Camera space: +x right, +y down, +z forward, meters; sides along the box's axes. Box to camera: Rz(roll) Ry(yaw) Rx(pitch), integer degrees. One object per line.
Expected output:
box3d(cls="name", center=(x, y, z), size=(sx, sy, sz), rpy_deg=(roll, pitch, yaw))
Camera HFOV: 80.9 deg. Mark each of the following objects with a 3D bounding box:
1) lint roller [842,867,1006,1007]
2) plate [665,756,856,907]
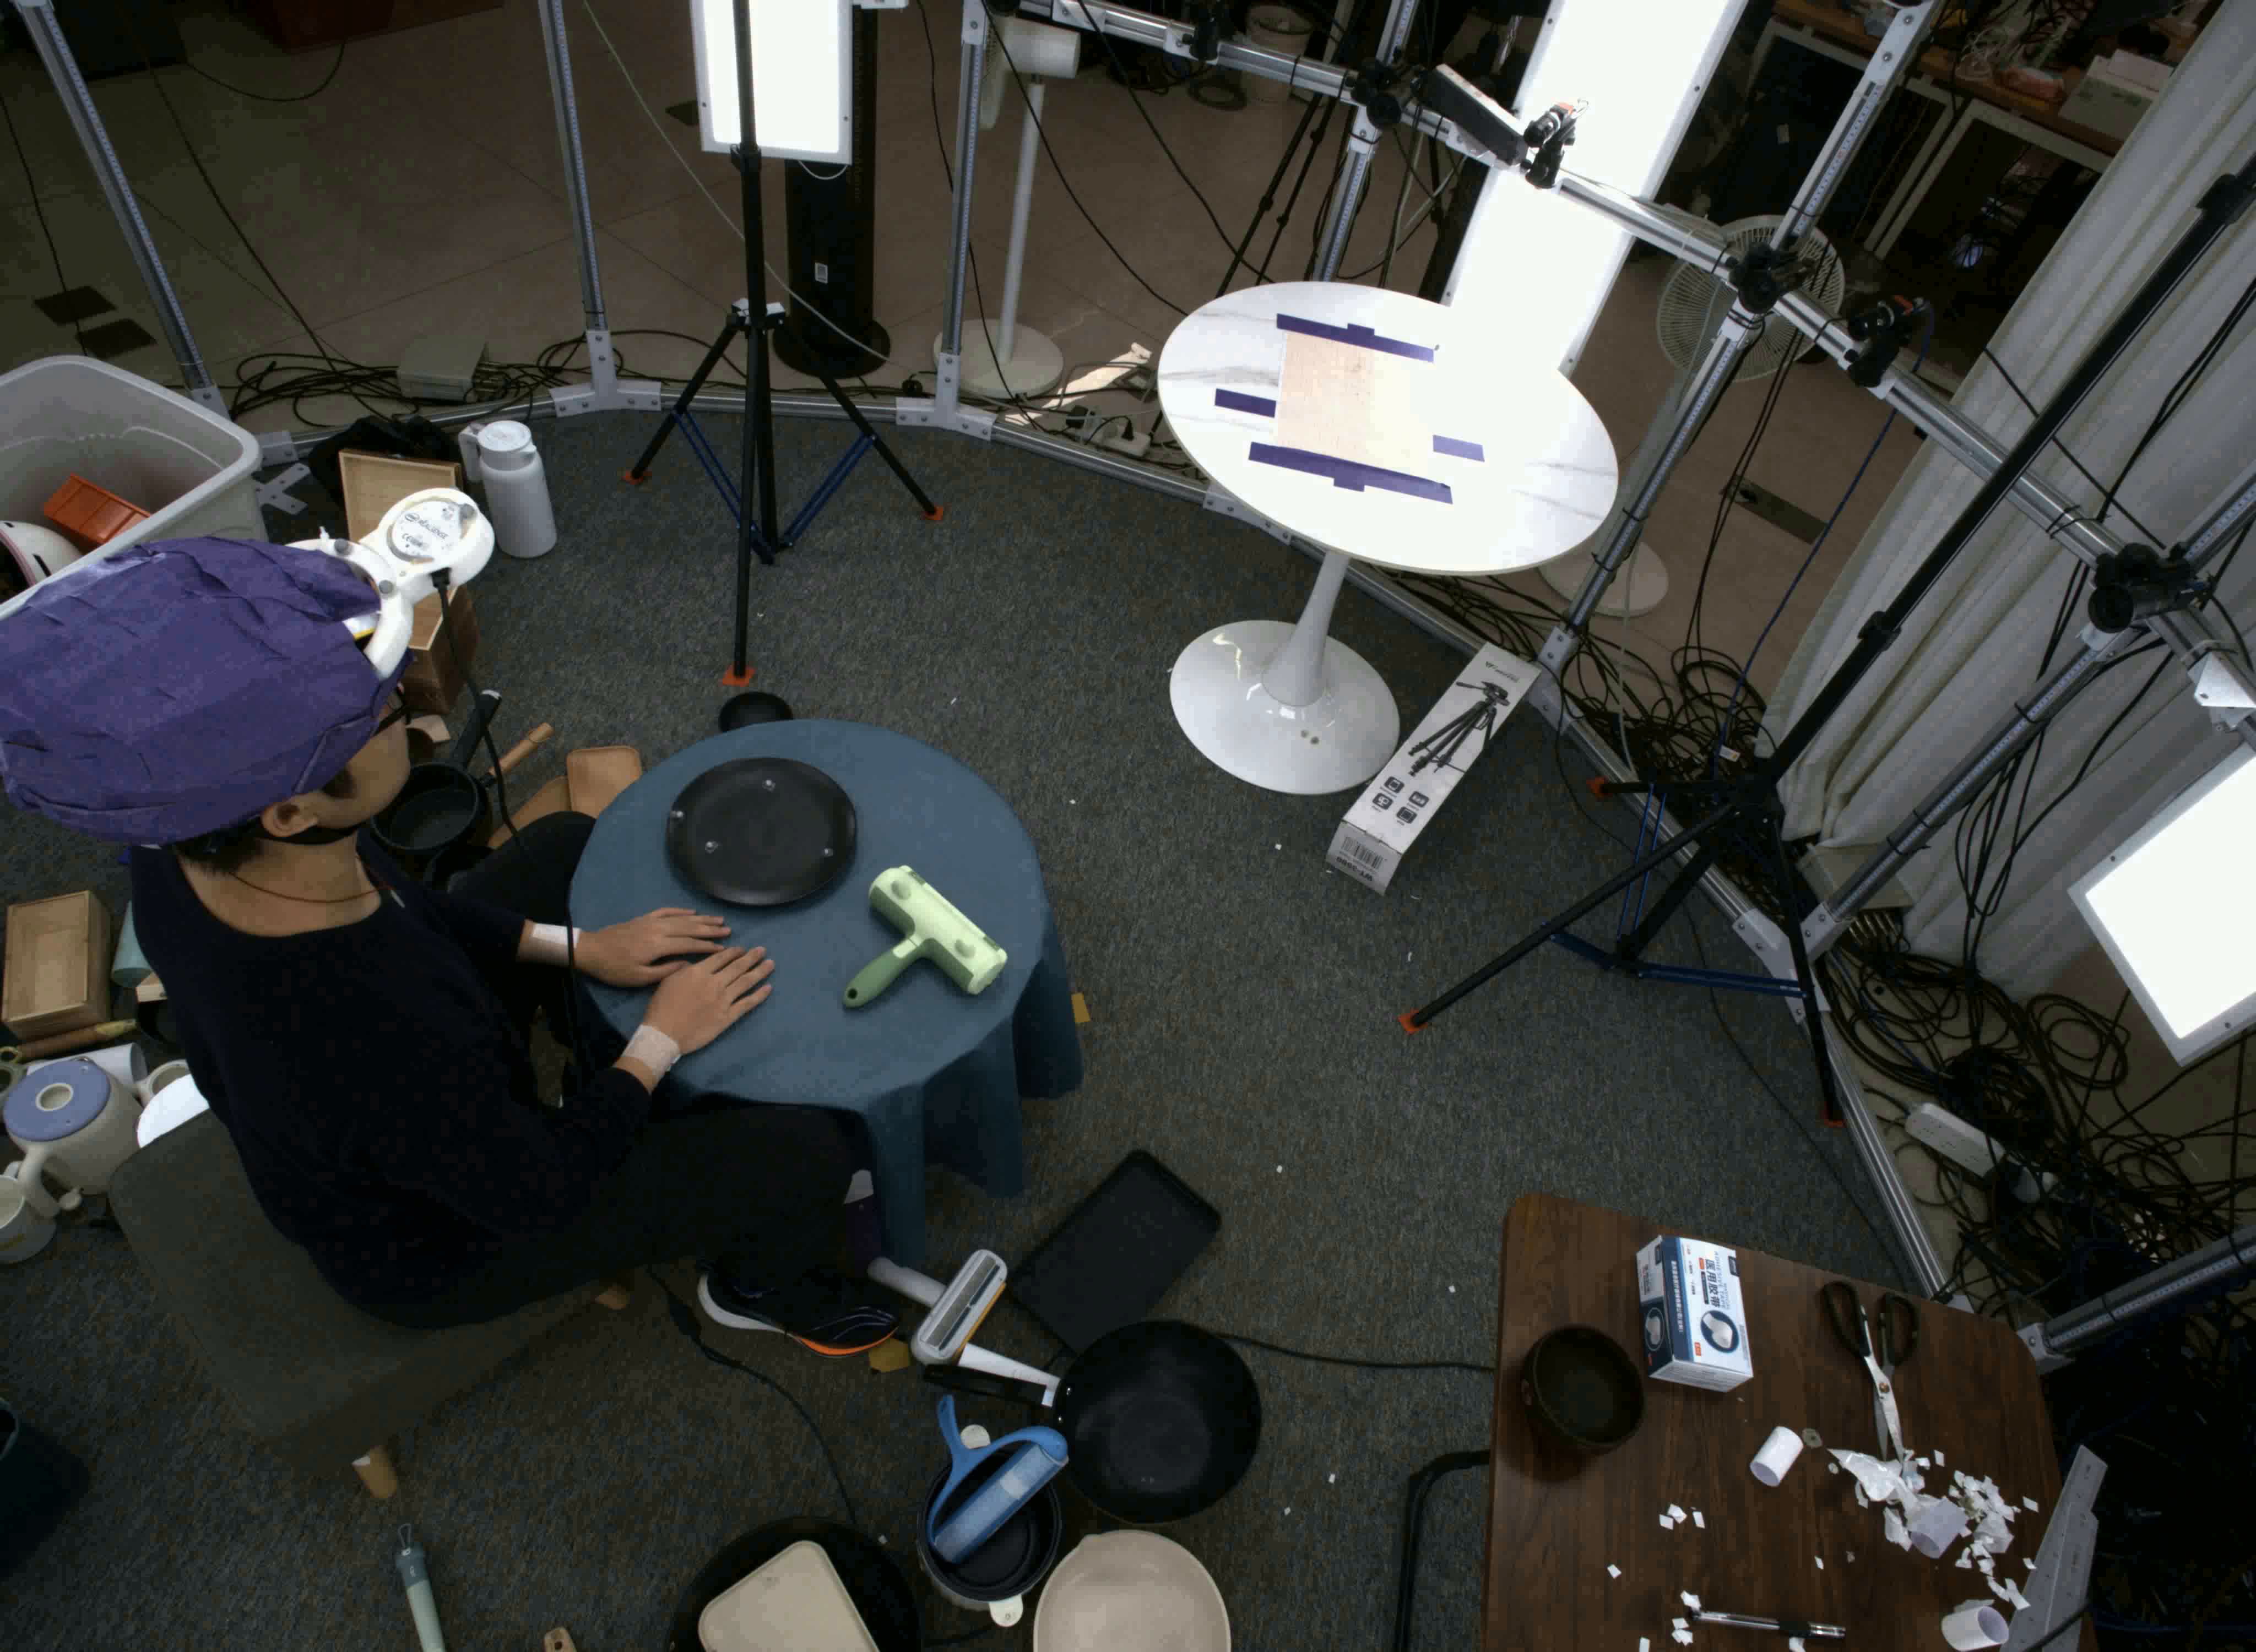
box3d(cls="lint roller", center=(-0.276, 0.147, 1.588), size=(0.194, 0.084, 0.184), rpy_deg=(38, 47, 16))
box3d(cls="plate", center=(-0.475, 0.007, 1.679), size=(0.244, 0.024, 0.240), rpy_deg=(8, 52, -9))
